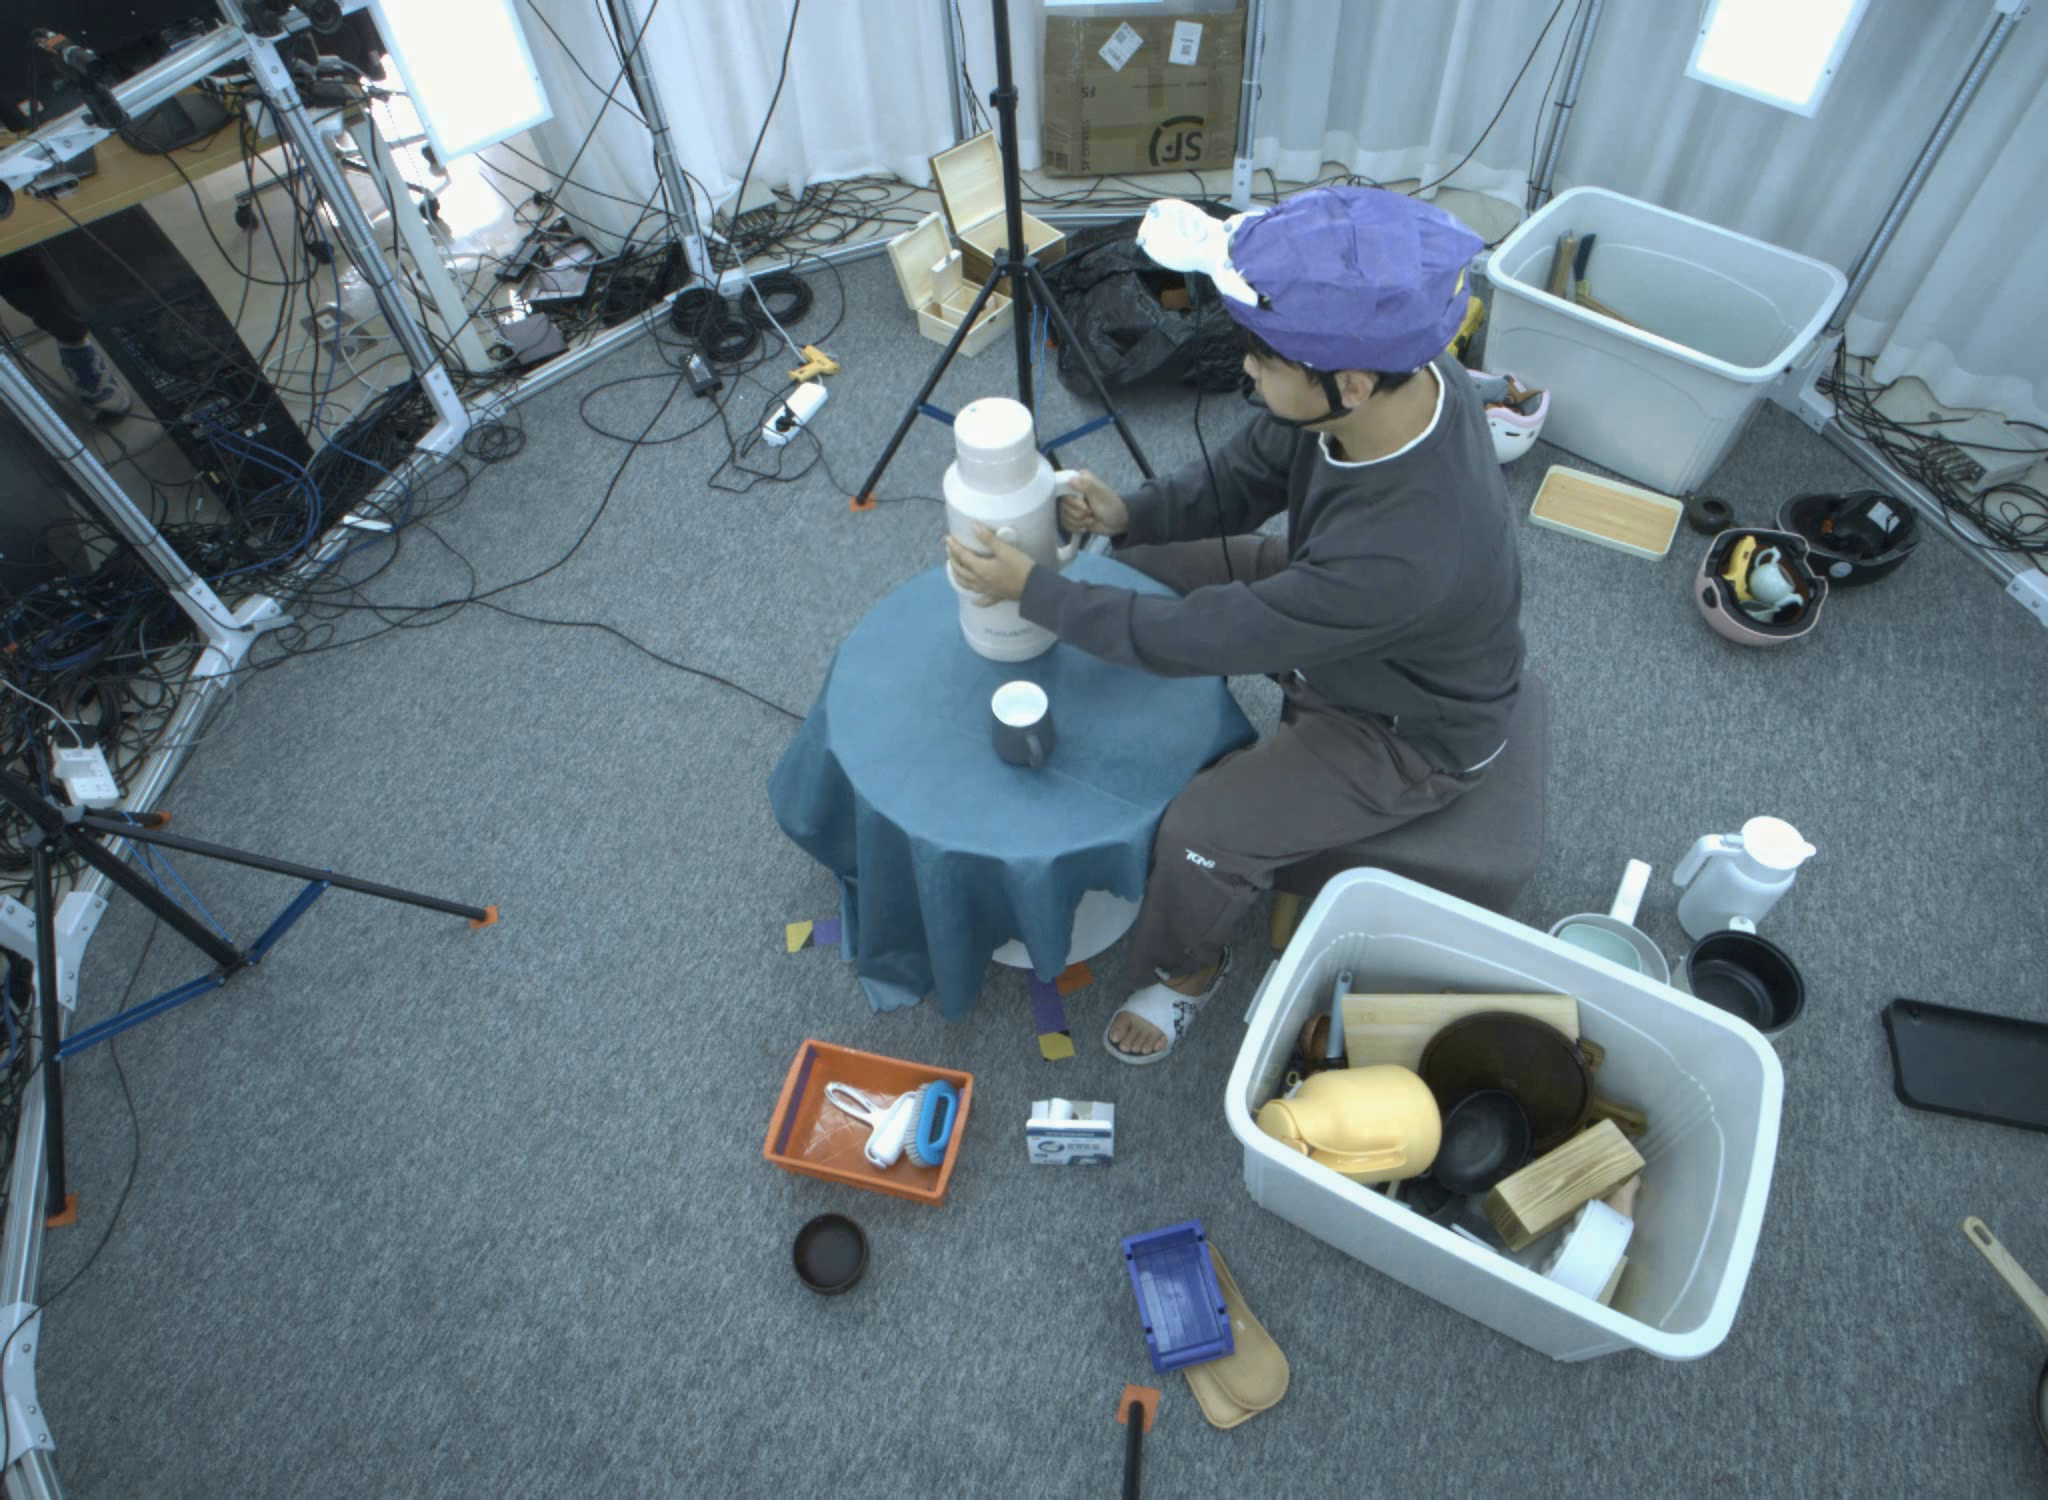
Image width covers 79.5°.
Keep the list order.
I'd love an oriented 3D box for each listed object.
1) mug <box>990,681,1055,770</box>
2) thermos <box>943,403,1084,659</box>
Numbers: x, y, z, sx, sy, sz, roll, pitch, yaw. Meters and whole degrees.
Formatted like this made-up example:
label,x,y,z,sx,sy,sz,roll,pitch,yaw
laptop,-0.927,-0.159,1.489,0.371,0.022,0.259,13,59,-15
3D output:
label,x,y,z,sx,sy,sz,roll,pitch,yaw
mug,0.001,-0.028,1.751,0.094,0.091,0.121,-16,56,-8
thermos,-0.016,-0.316,1.766,0.207,0.411,0.173,-8,54,-2
